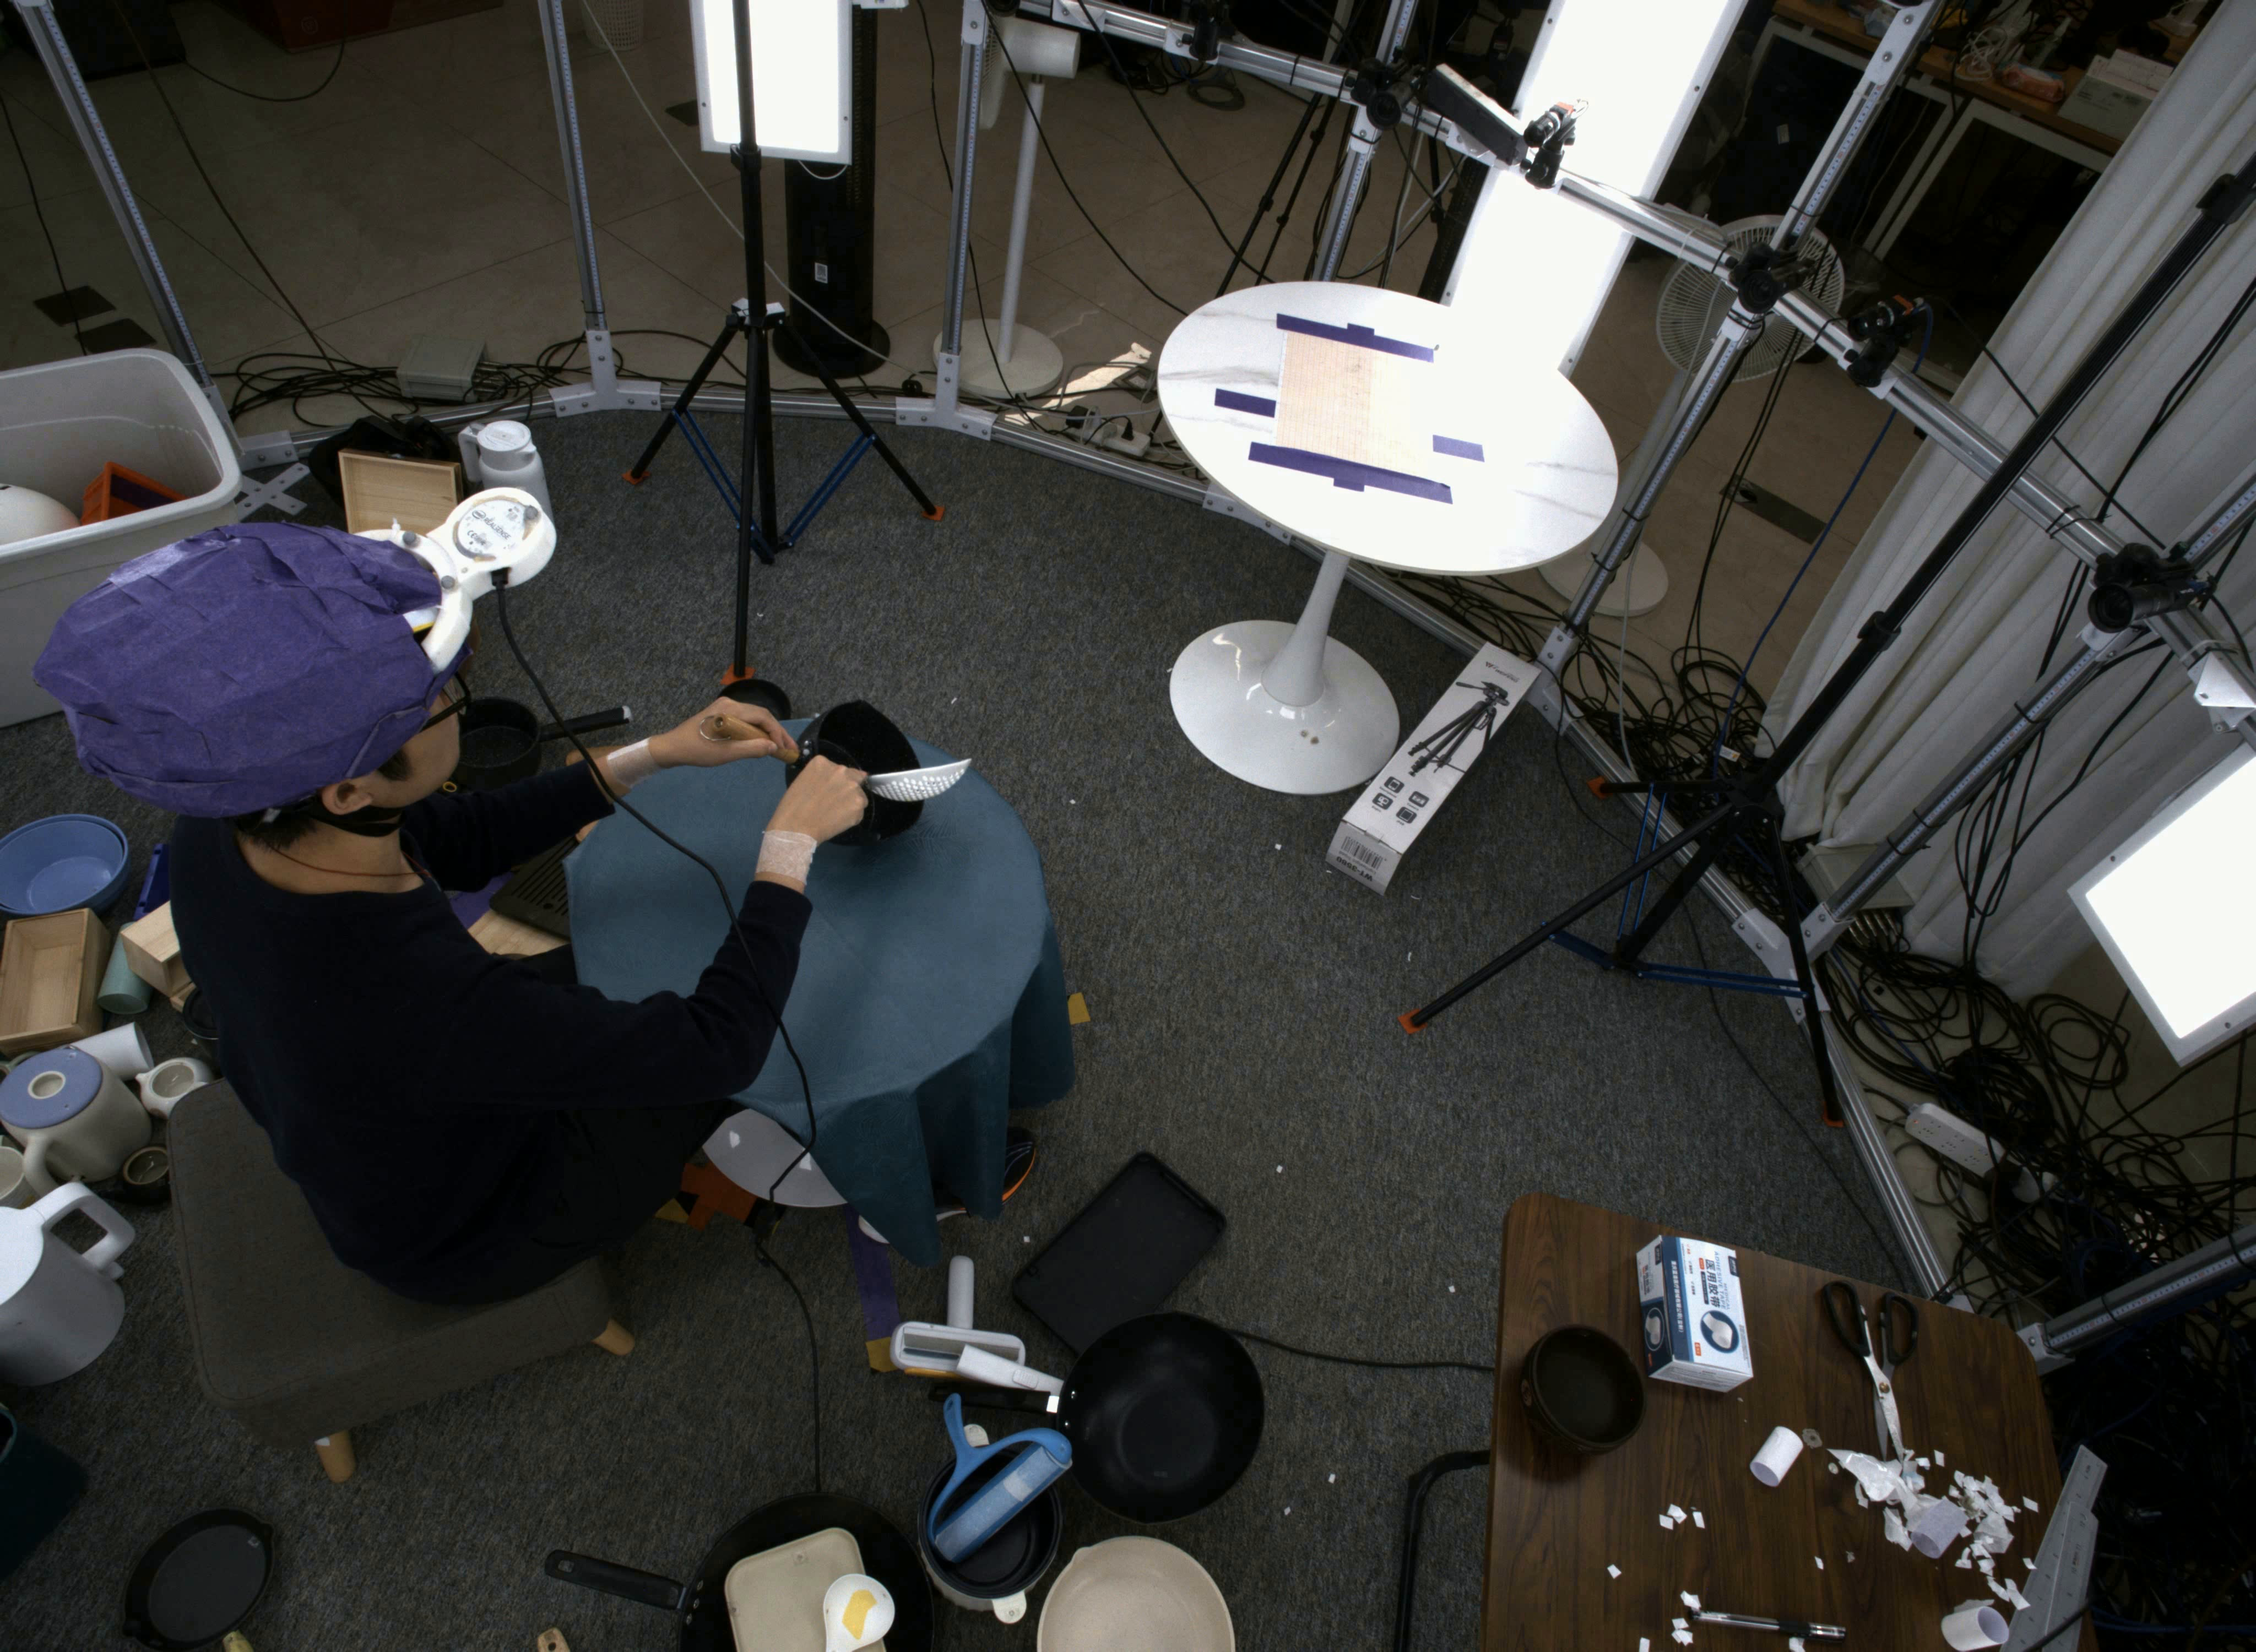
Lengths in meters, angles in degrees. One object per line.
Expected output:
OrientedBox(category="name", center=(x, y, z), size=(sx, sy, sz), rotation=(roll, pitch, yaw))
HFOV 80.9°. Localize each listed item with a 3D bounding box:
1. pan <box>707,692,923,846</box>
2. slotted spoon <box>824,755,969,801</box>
OrientedBox(category="pan", center=(-0.400, -0.078, 1.604), size=(0.352, 0.106, 0.206), rotation=(15, 59, -54))
OrientedBox(category="slotted spoon", center=(-0.293, -0.054, 1.560), size=(0.134, 0.351, 0.051), rotation=(-13, 88, 13))
